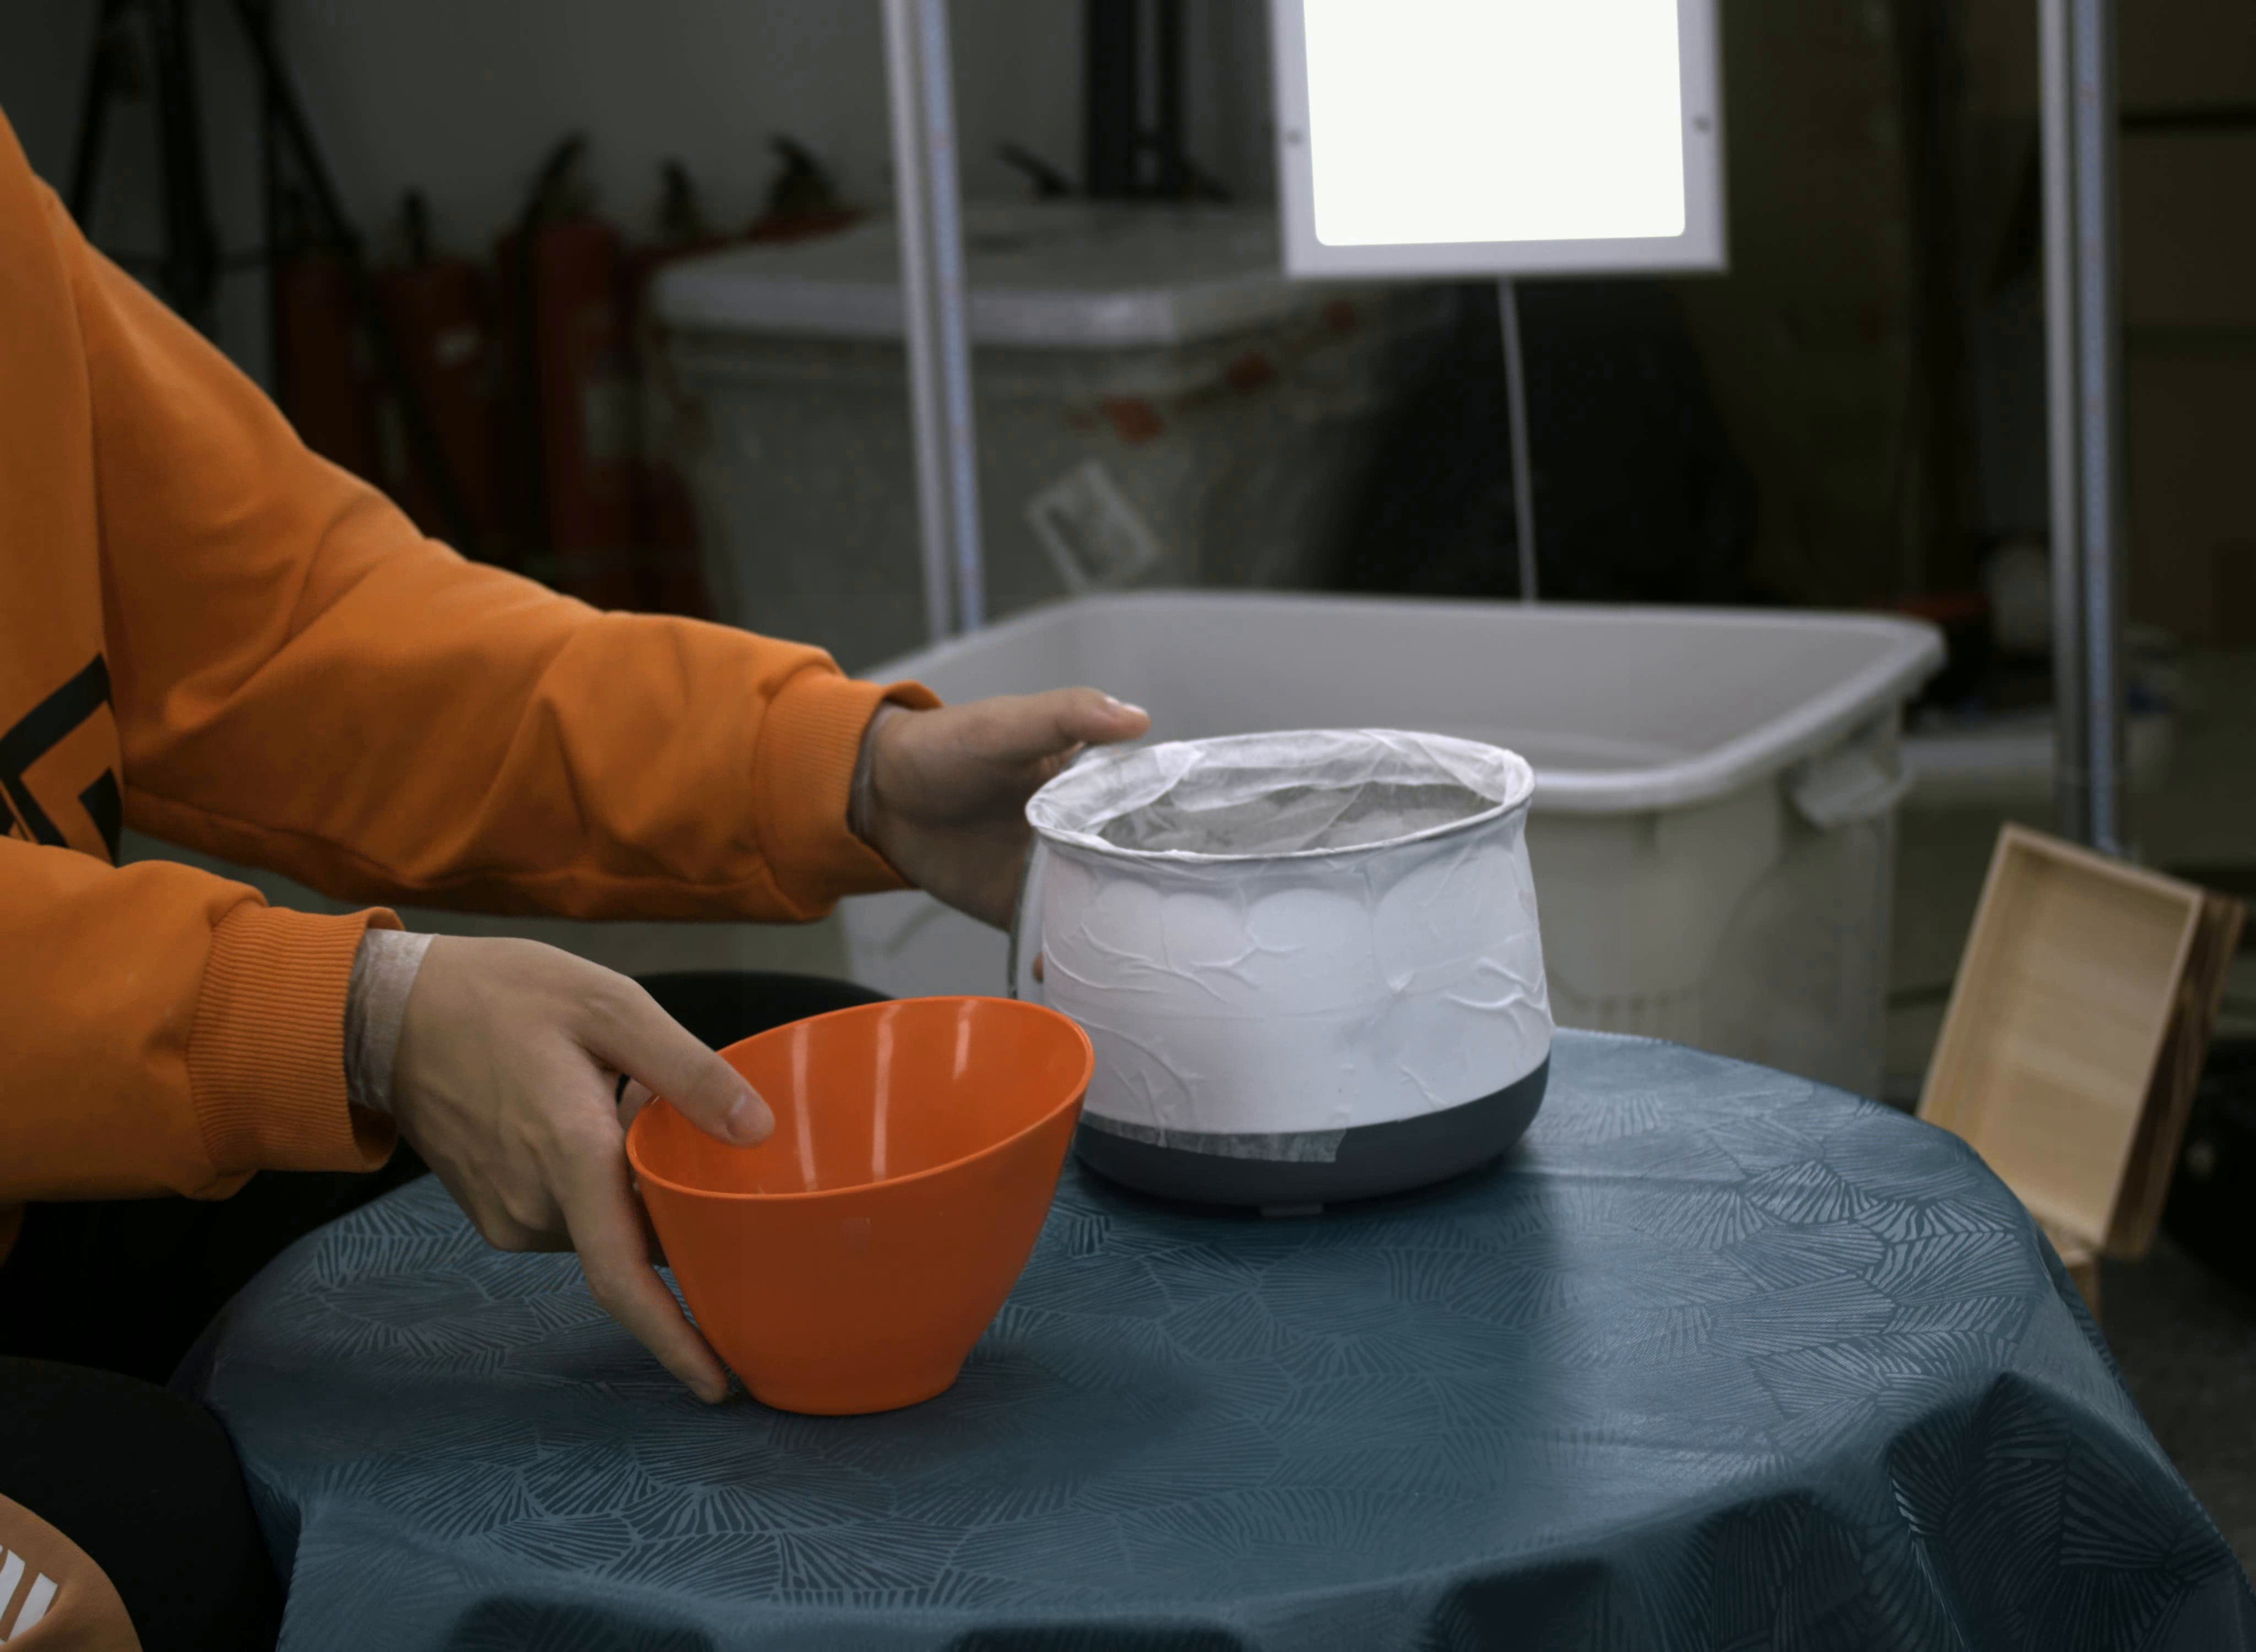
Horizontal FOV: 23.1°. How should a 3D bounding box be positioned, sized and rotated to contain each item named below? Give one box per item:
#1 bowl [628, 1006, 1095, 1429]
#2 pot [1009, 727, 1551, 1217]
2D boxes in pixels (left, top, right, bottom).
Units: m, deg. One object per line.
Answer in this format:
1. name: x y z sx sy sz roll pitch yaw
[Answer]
1. bowl: -0.080 0.126 1.725 0.147 0.105 0.148 -5 14 0
2. pot: 0.039 0.045 1.926 0.174 0.137 0.238 -15 18 -38
